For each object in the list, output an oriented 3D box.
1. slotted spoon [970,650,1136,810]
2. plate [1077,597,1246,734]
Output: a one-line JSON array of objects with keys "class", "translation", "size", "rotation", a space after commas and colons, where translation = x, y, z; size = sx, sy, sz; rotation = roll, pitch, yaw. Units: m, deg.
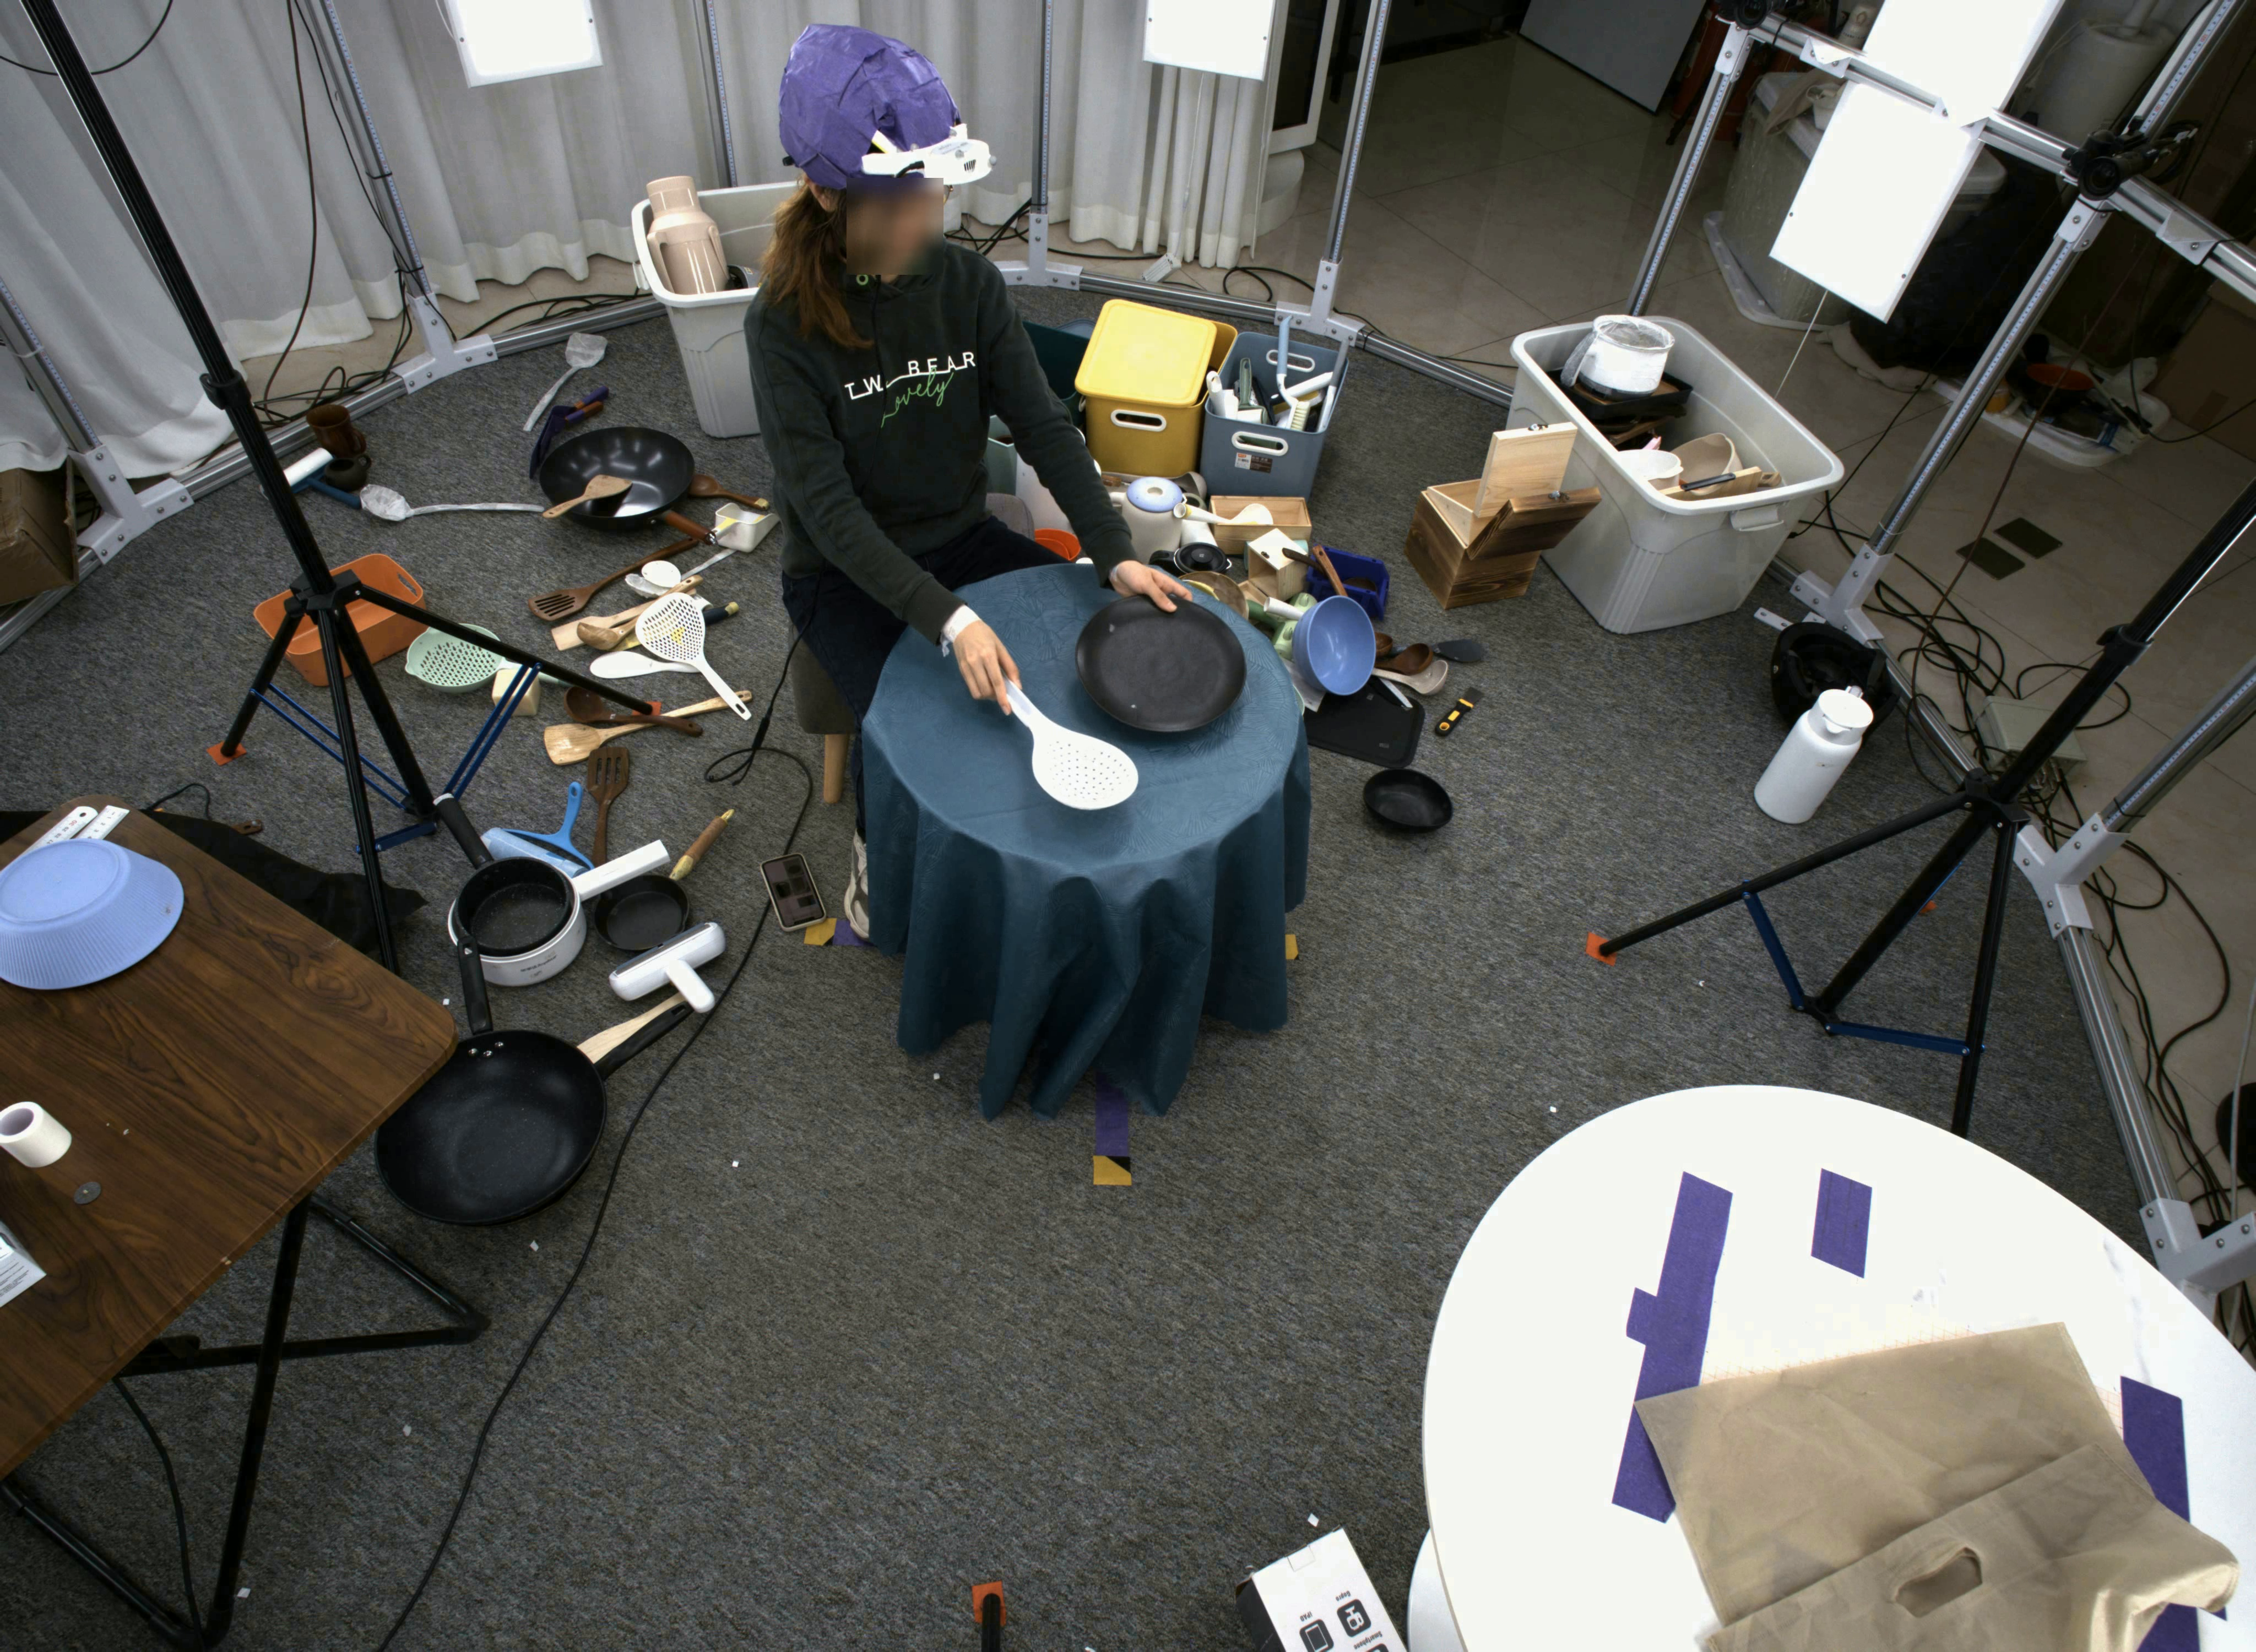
[{"class": "slotted spoon", "translation": [-0.118, -0.134, 1.732], "size": [0.136, 0.045, 0.356], "rotation": [-18, 54, -31]}, {"class": "plate", "translation": [0.047, -0.228, 1.831], "size": [0.244, 0.023, 0.250], "rotation": [3, 57, -5]}]
